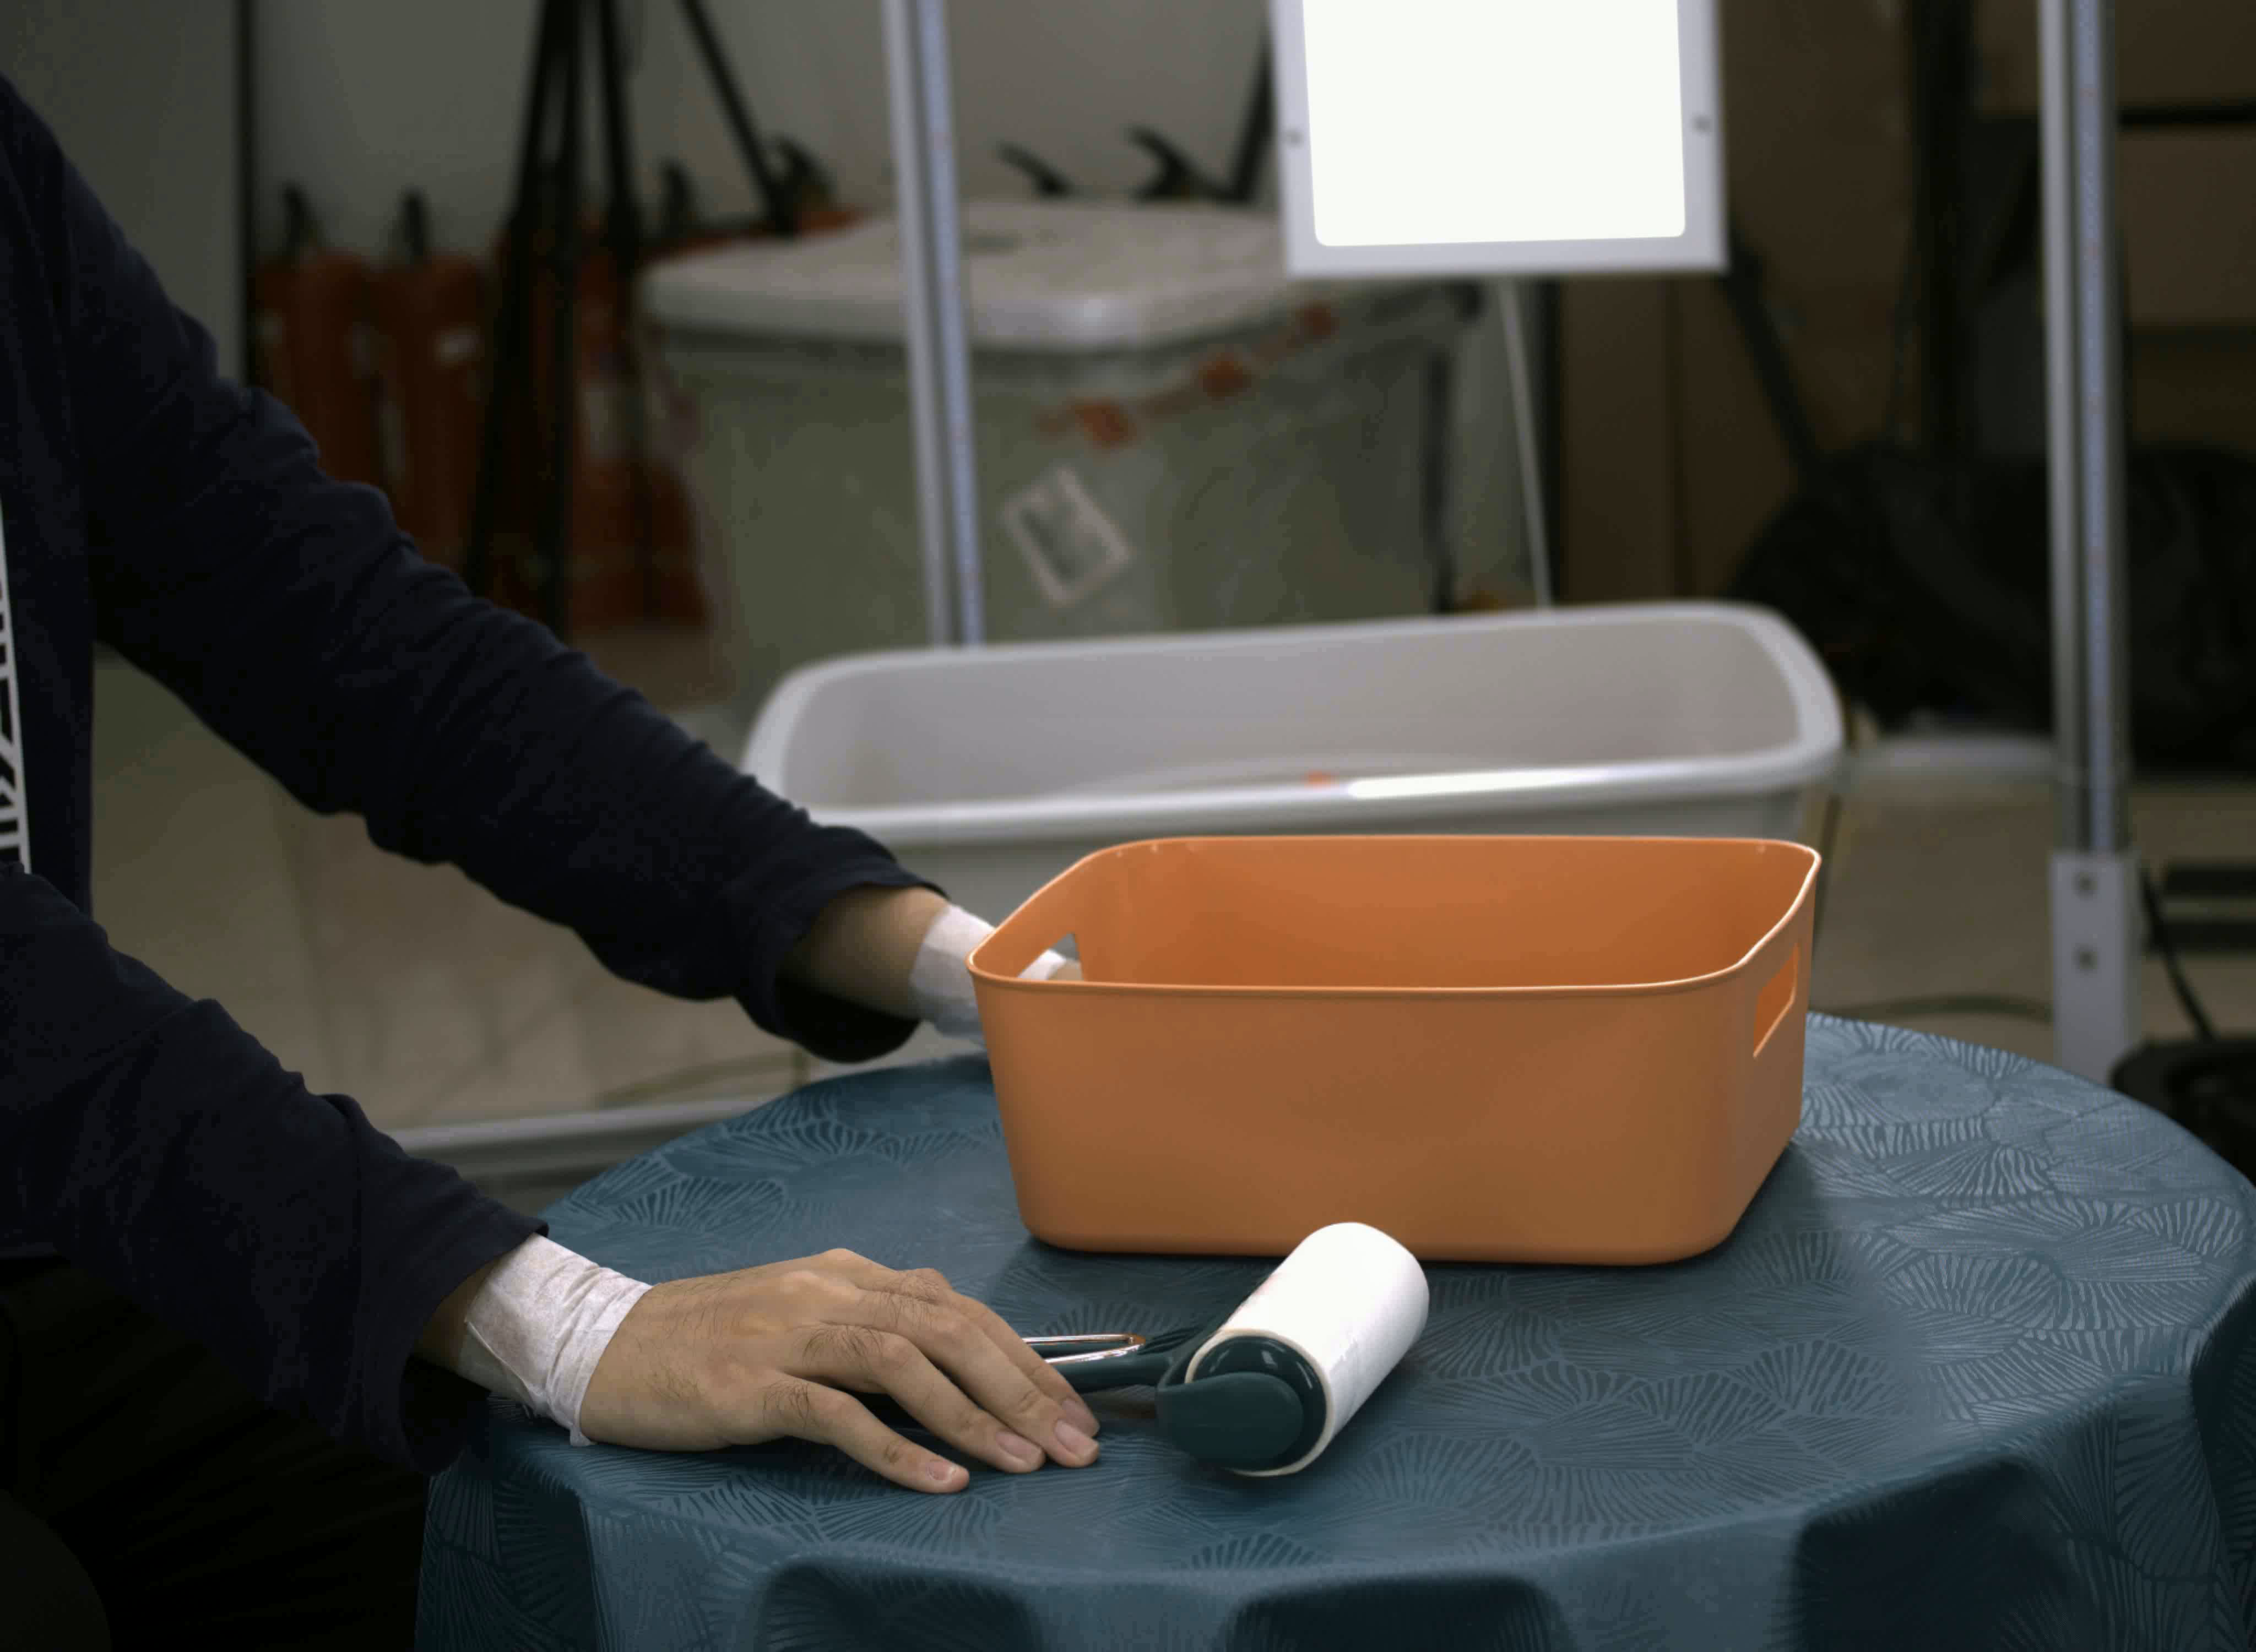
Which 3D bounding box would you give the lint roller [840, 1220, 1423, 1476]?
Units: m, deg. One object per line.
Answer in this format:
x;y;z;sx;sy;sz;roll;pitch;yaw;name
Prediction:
-0.008;0.161;1.684;0.183;0.048;0.132;-4;14;23;lint roller

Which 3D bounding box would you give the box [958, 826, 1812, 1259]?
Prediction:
0.093;0.073;1.865;0.277;0.103;0.196;-1;14;19;box
